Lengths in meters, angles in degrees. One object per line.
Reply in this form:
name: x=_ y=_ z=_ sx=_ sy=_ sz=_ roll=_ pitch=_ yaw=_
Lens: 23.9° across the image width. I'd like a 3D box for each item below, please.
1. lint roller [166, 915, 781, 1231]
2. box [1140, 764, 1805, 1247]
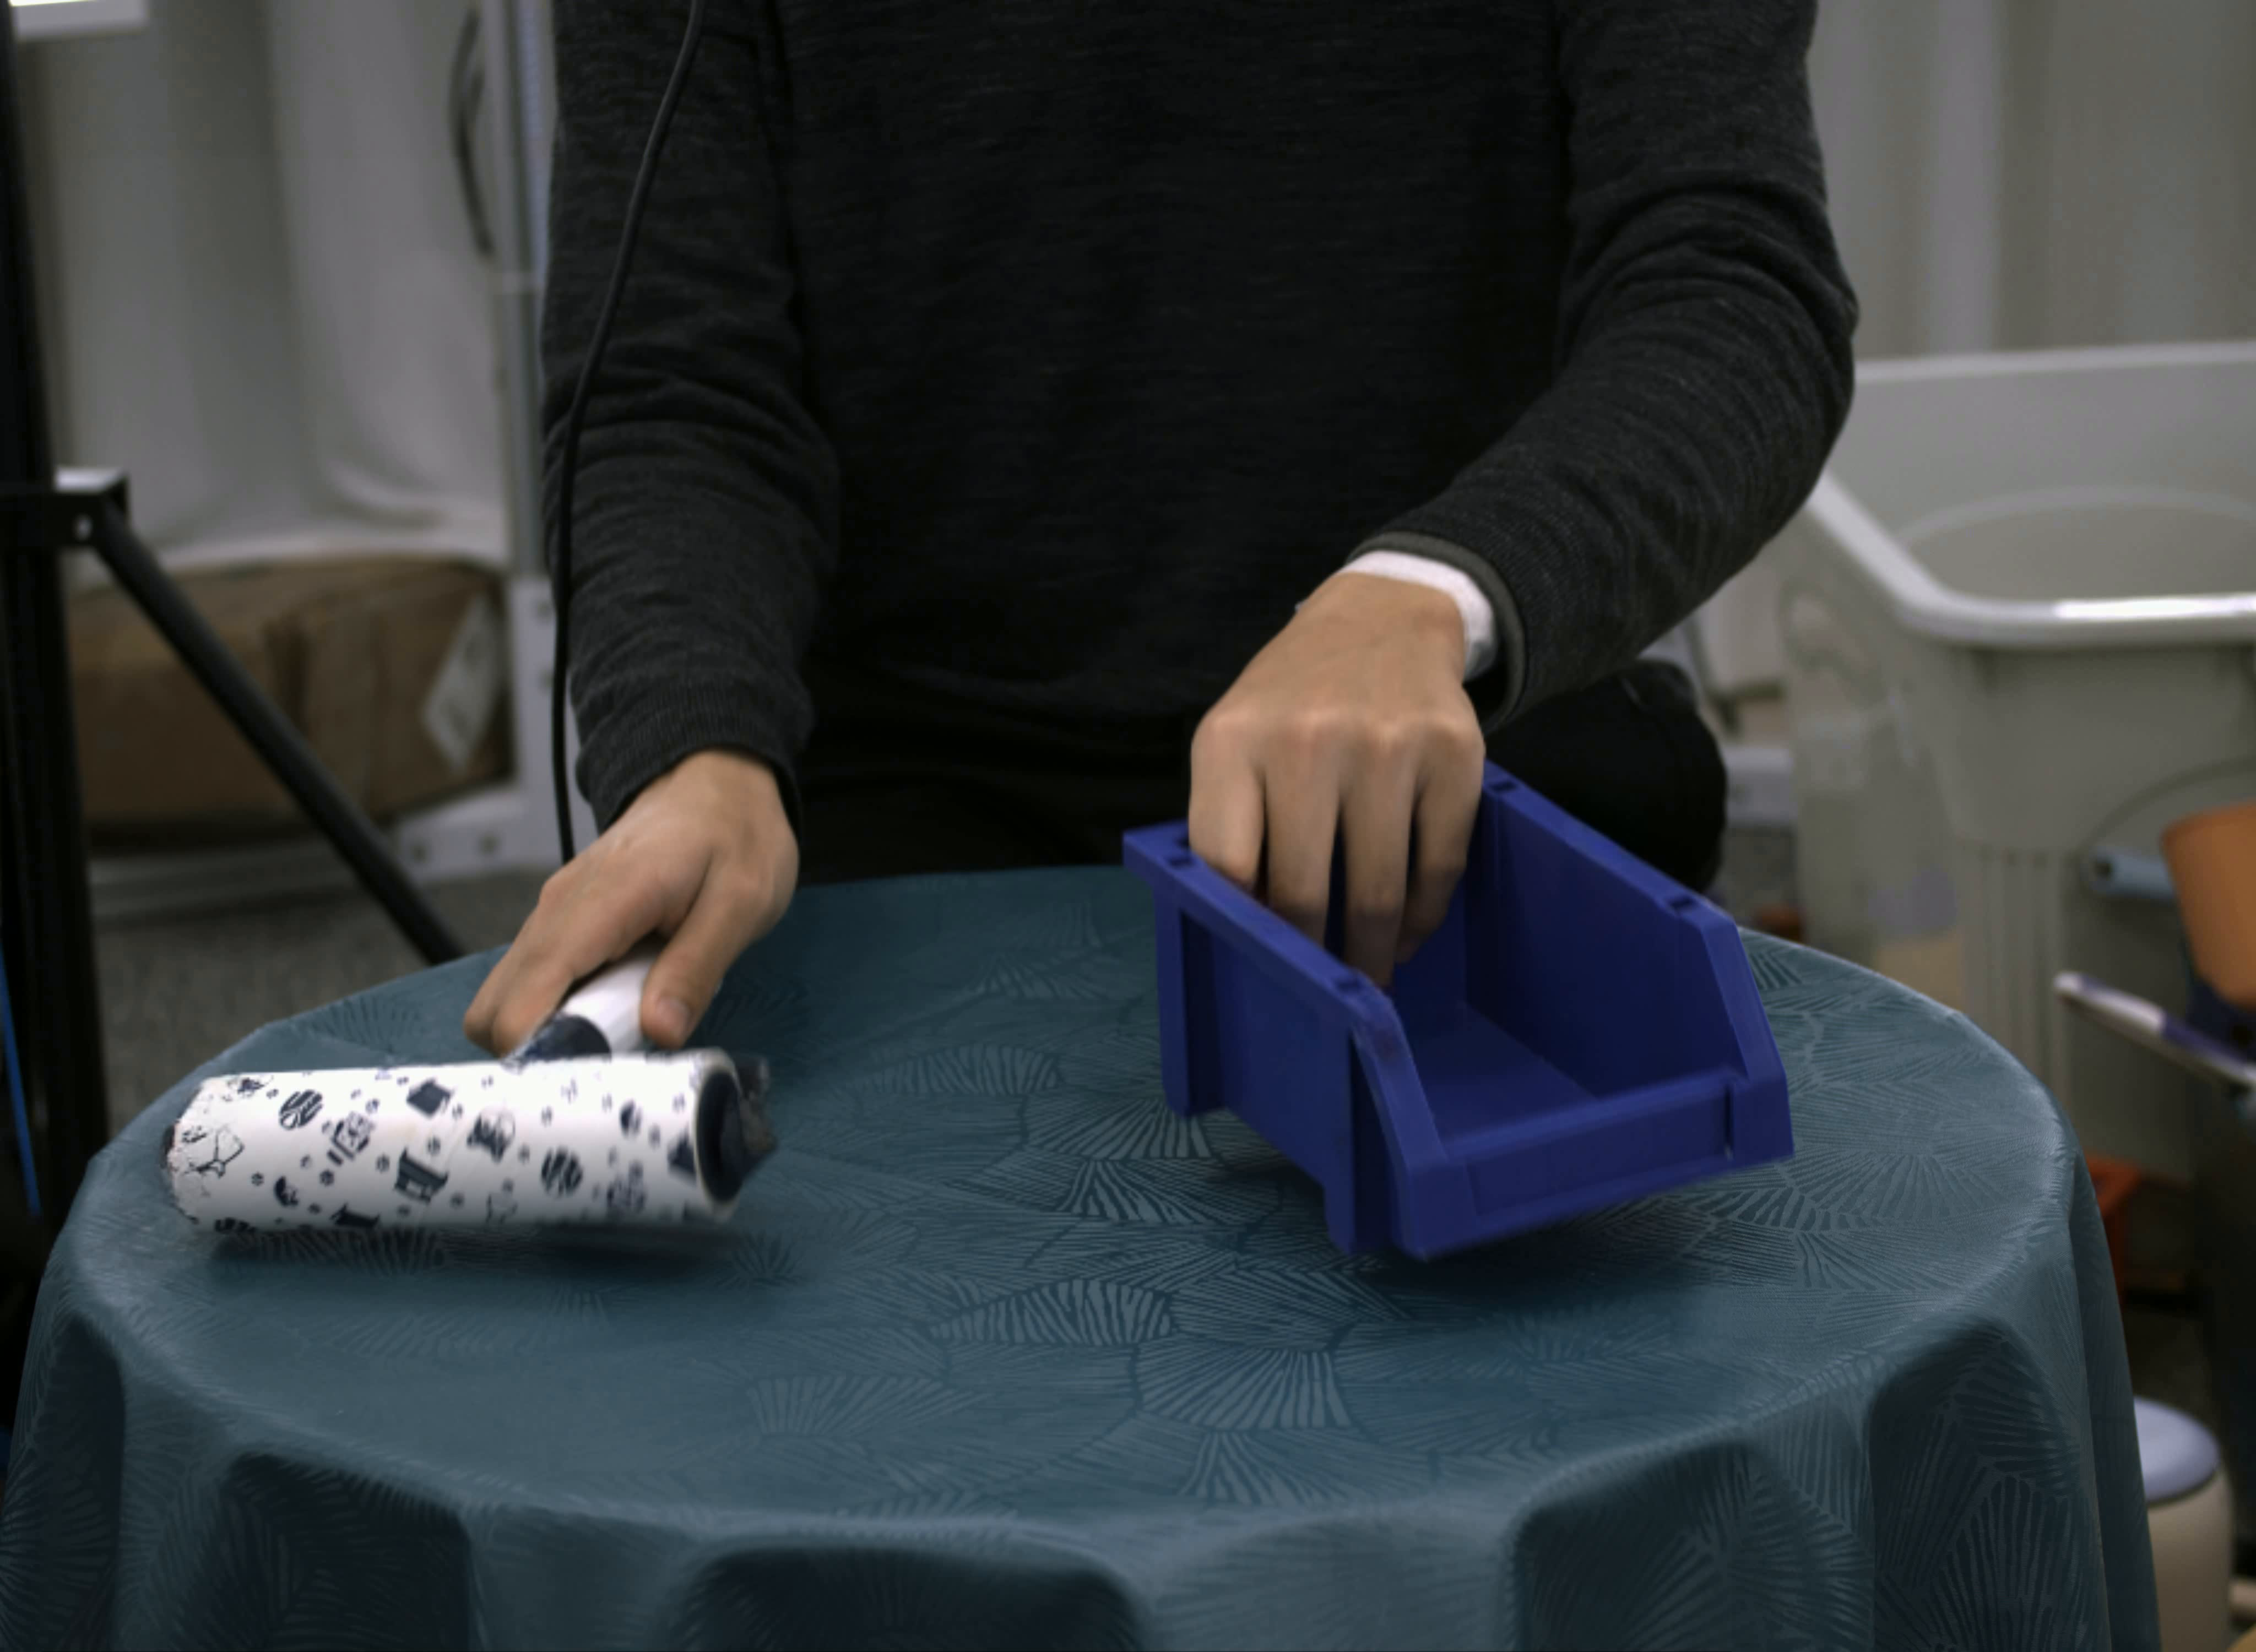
lint roller: x=-0.168 y=0.062 z=1.627 sx=0.178 sy=0.050 sz=0.245 roll=-7 pitch=13 yaw=16
box: x=0.097 y=0.054 z=1.509 sx=0.122 sy=0.082 sz=0.183 roll=-11 pitch=20 yaw=-21
